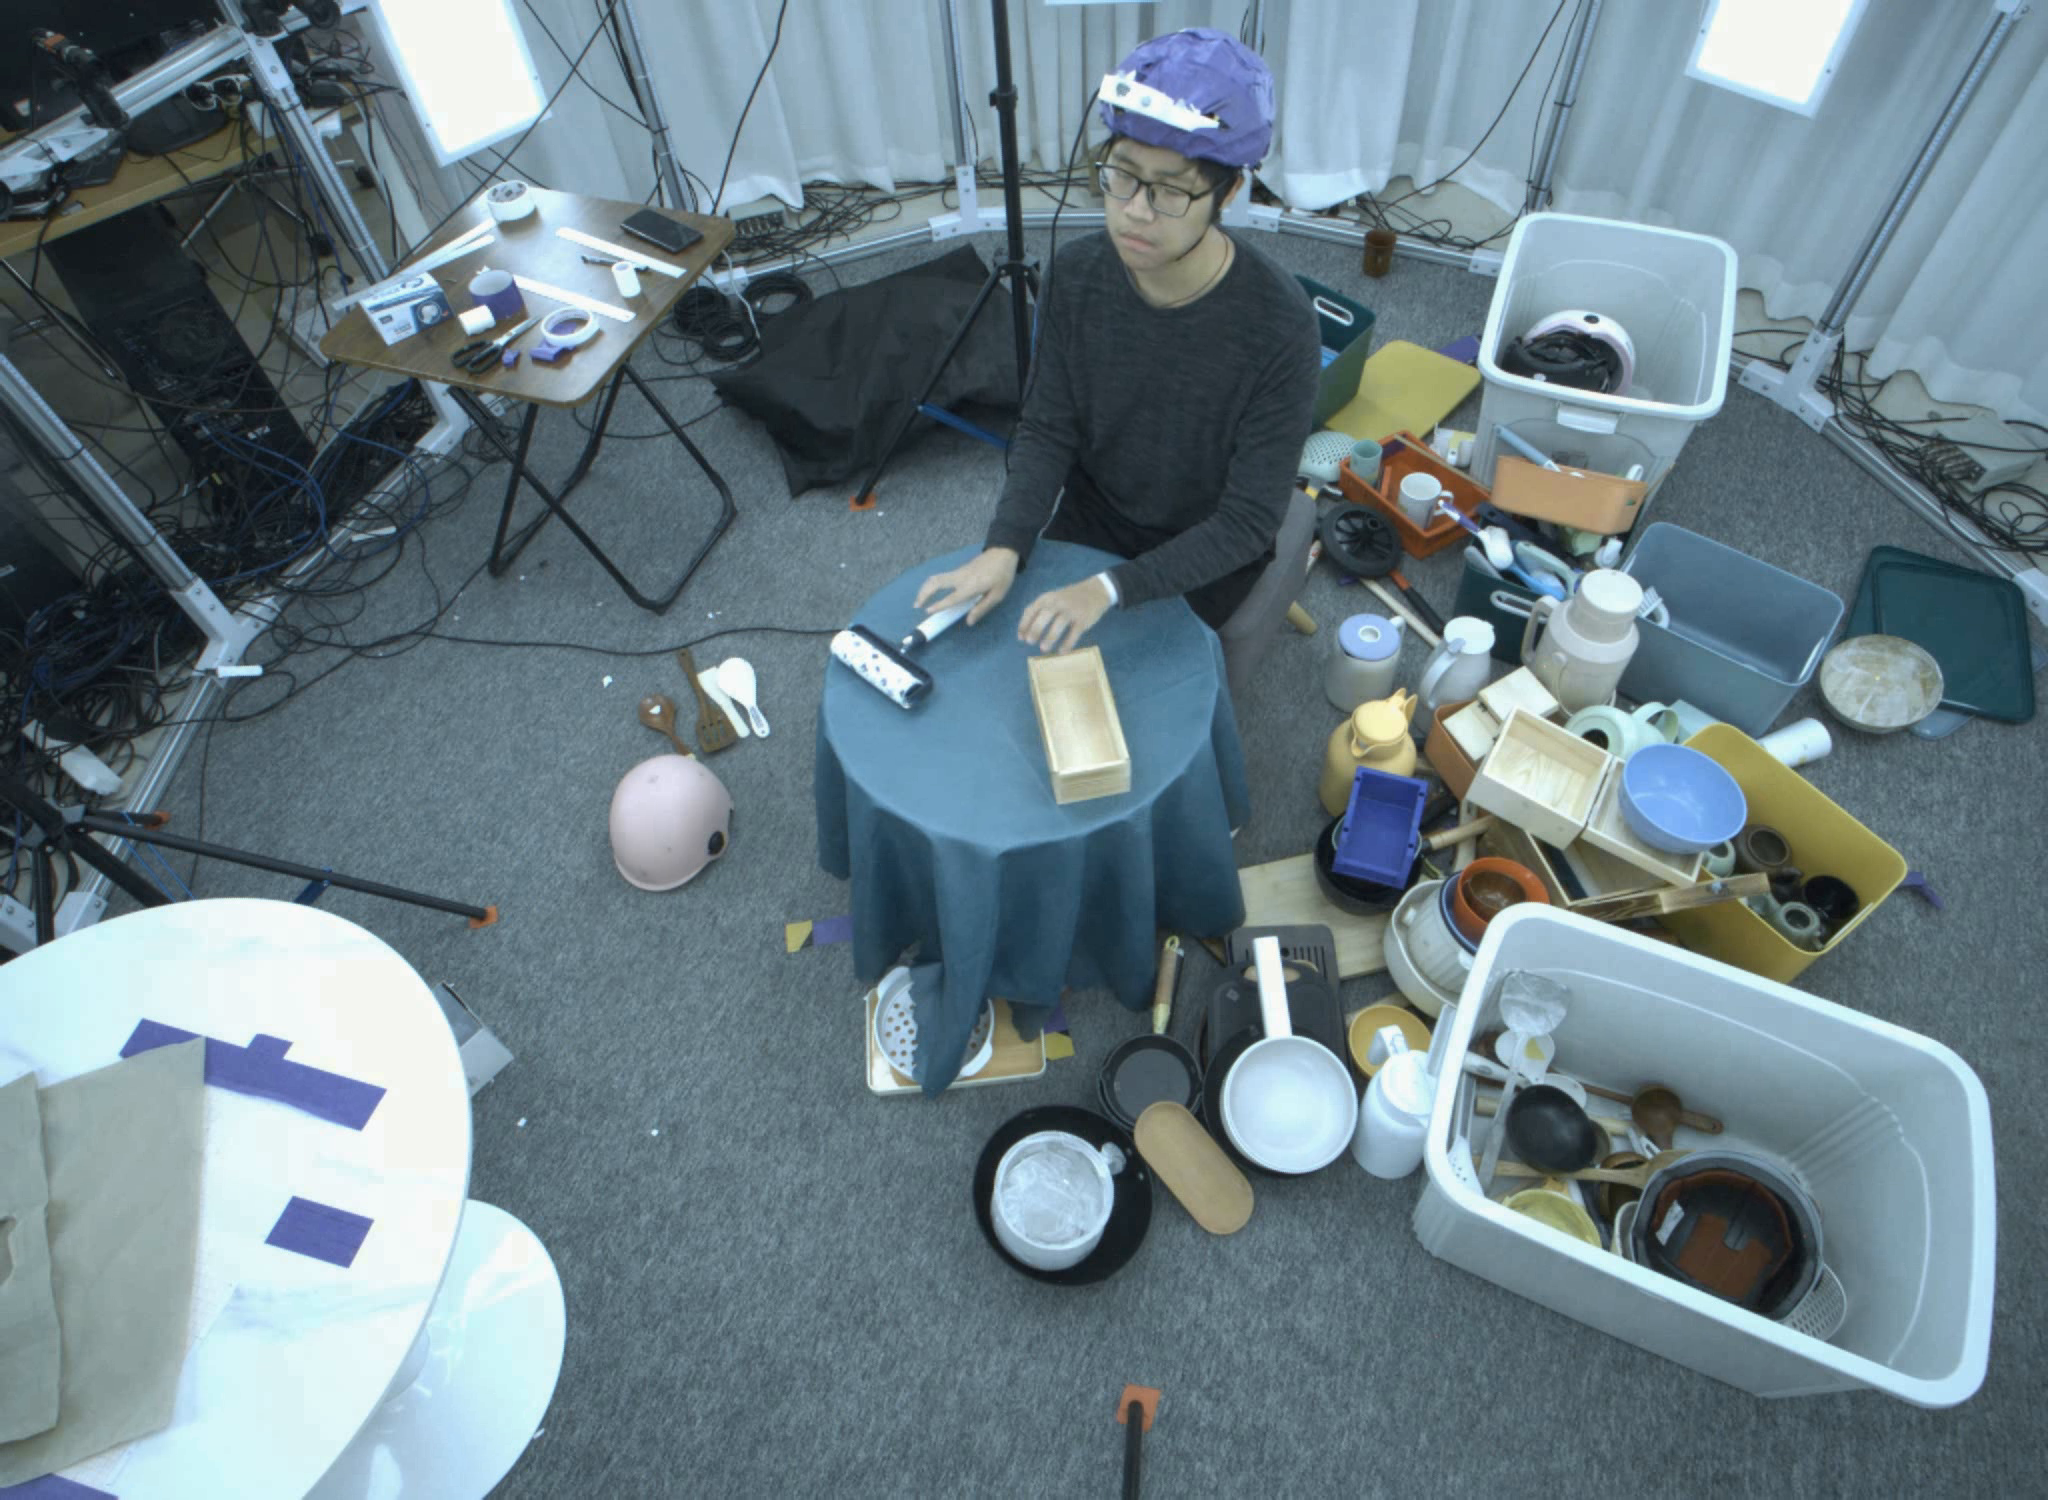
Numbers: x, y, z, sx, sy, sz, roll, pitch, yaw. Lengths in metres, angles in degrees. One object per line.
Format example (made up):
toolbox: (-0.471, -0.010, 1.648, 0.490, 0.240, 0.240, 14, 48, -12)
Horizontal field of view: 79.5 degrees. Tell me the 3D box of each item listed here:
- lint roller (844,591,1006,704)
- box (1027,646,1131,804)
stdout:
lint roller: (-0.135, -0.188, 1.890, 0.249, 0.051, 0.173, -33, 62, -18)
box: (0.077, -0.038, 1.763, 0.108, 0.081, 0.208, -10, 55, -5)
